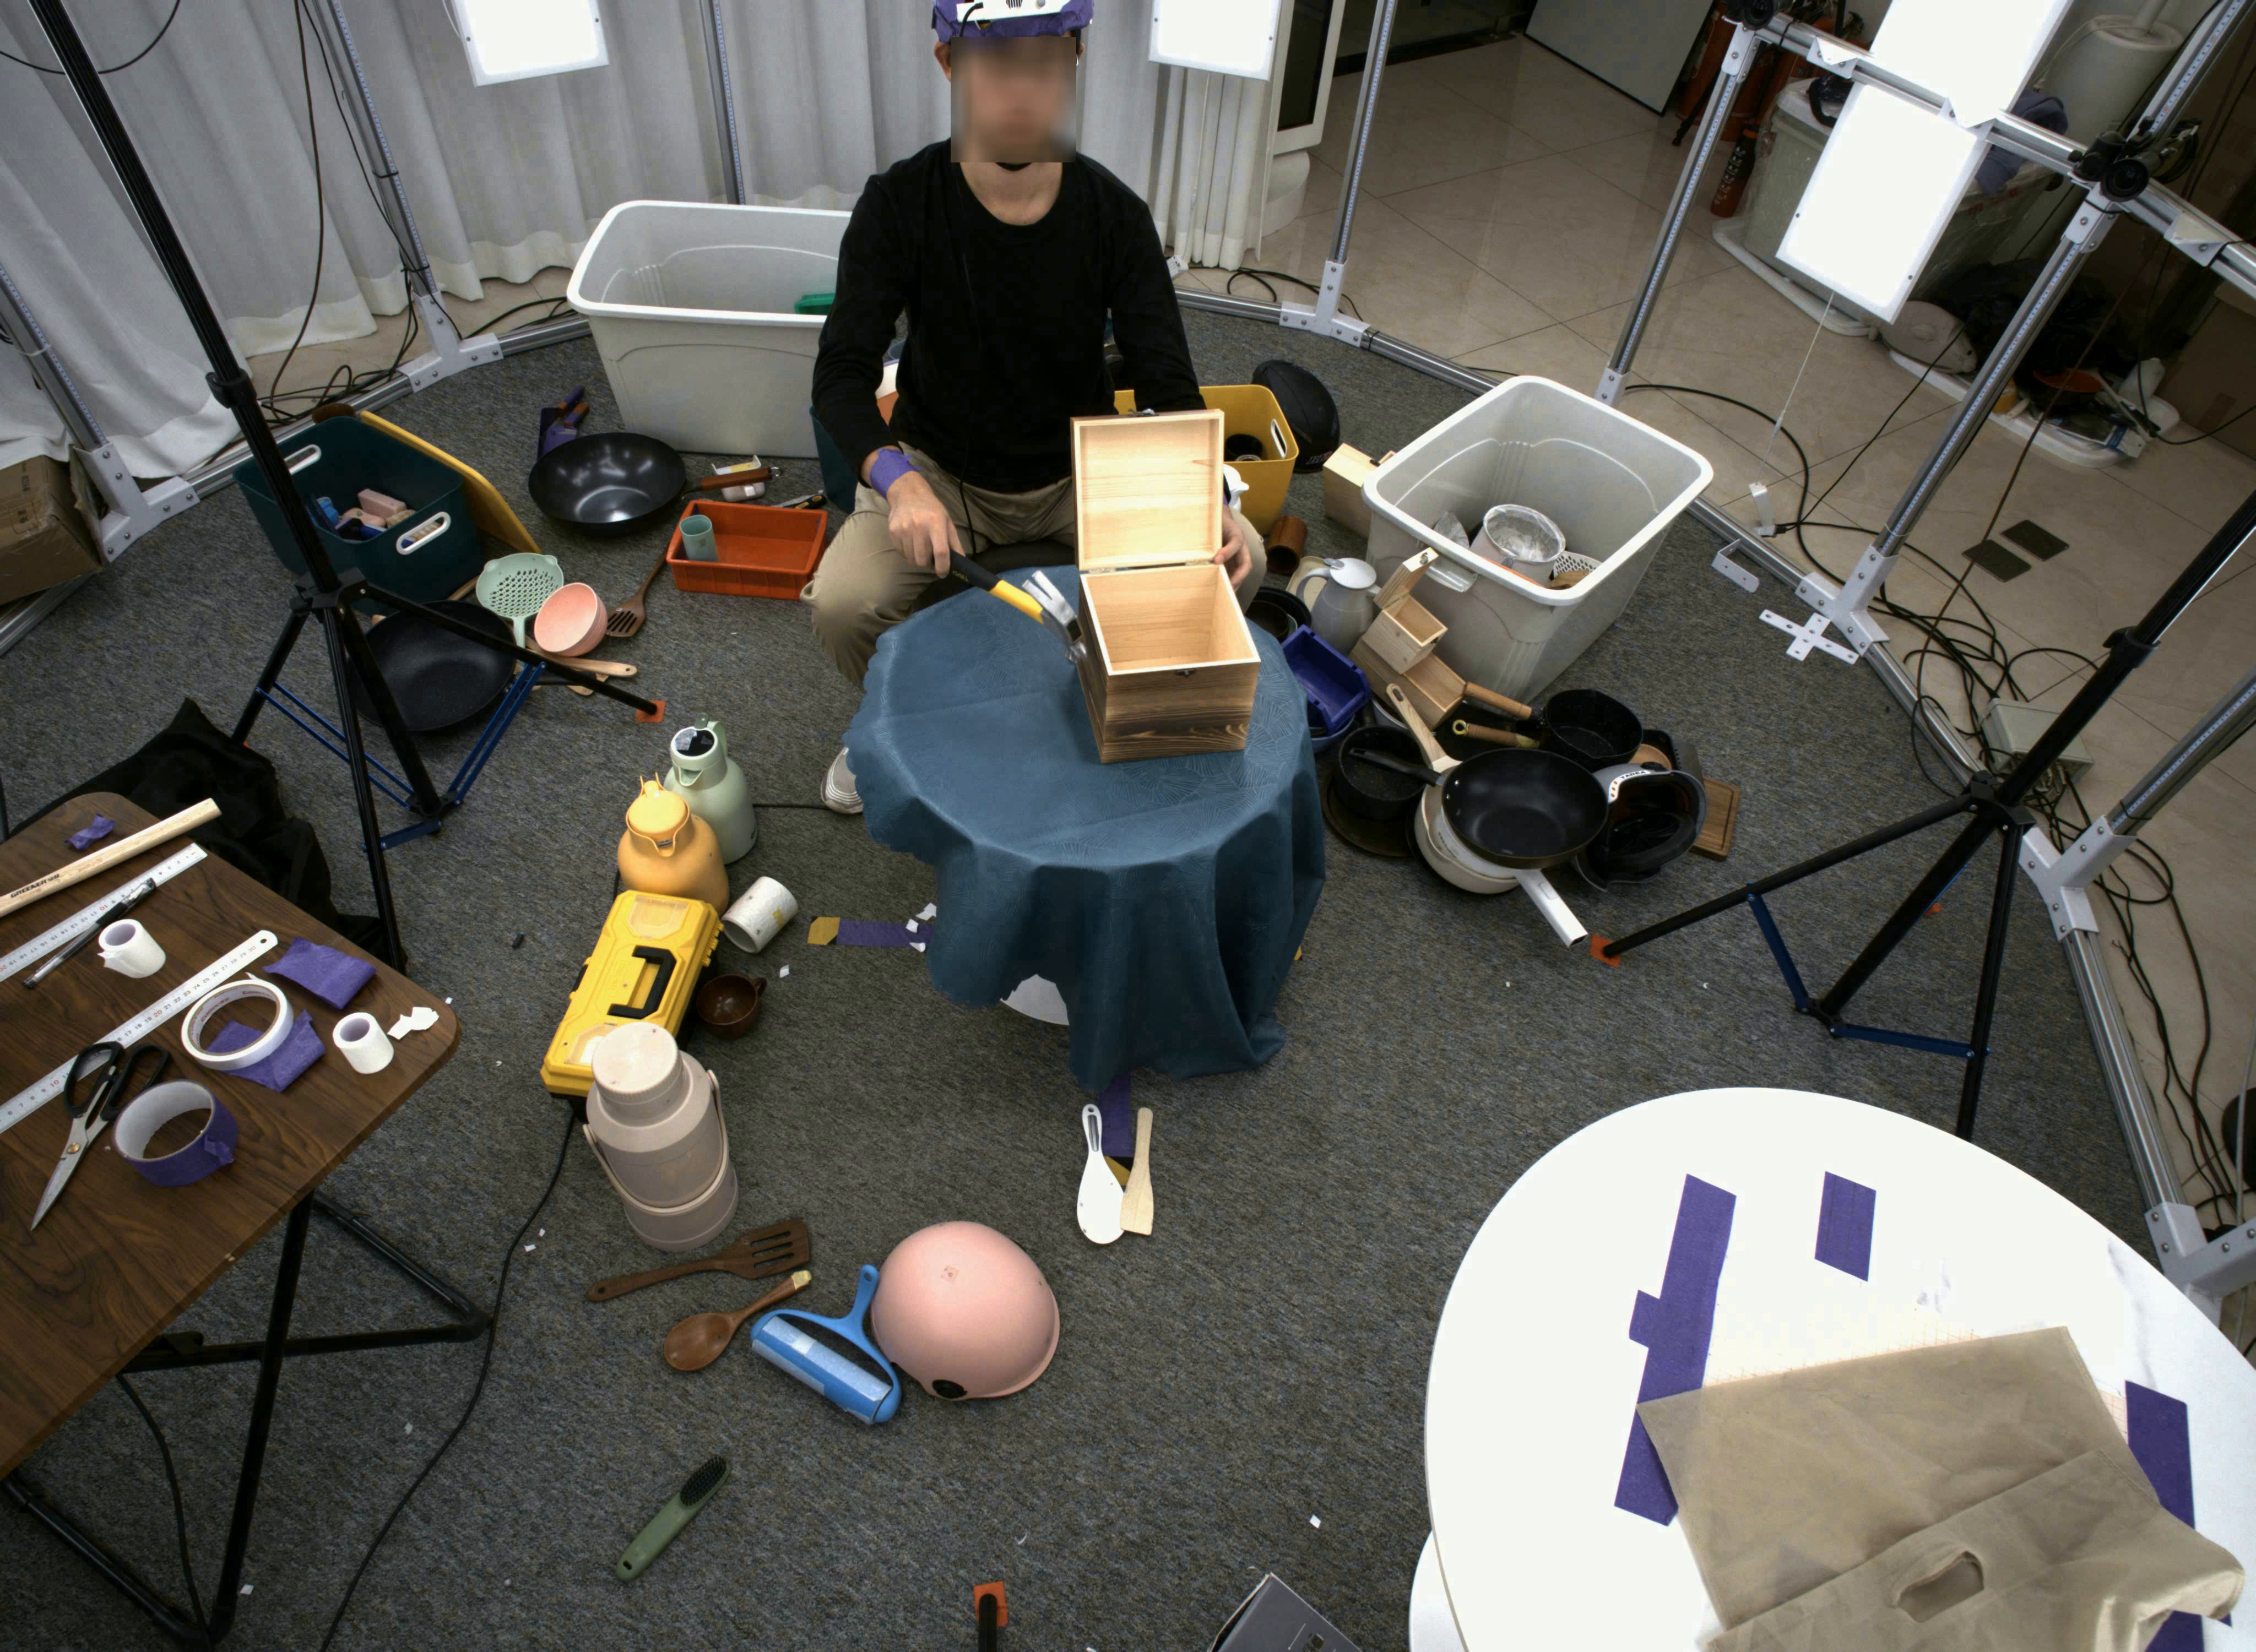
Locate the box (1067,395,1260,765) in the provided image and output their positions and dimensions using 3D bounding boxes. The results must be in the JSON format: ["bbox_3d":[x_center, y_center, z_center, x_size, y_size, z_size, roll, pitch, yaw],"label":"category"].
[{"bbox_3d":[0.042,-0.323,1.718,0.208,0.366,0.330,-6,50,-9],"label":"box"}]

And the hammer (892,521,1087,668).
[{"bbox_3d":[-0.191,-0.324,1.692,0.343,0.128,0.032,34,71,31],"label":"hammer"}]
